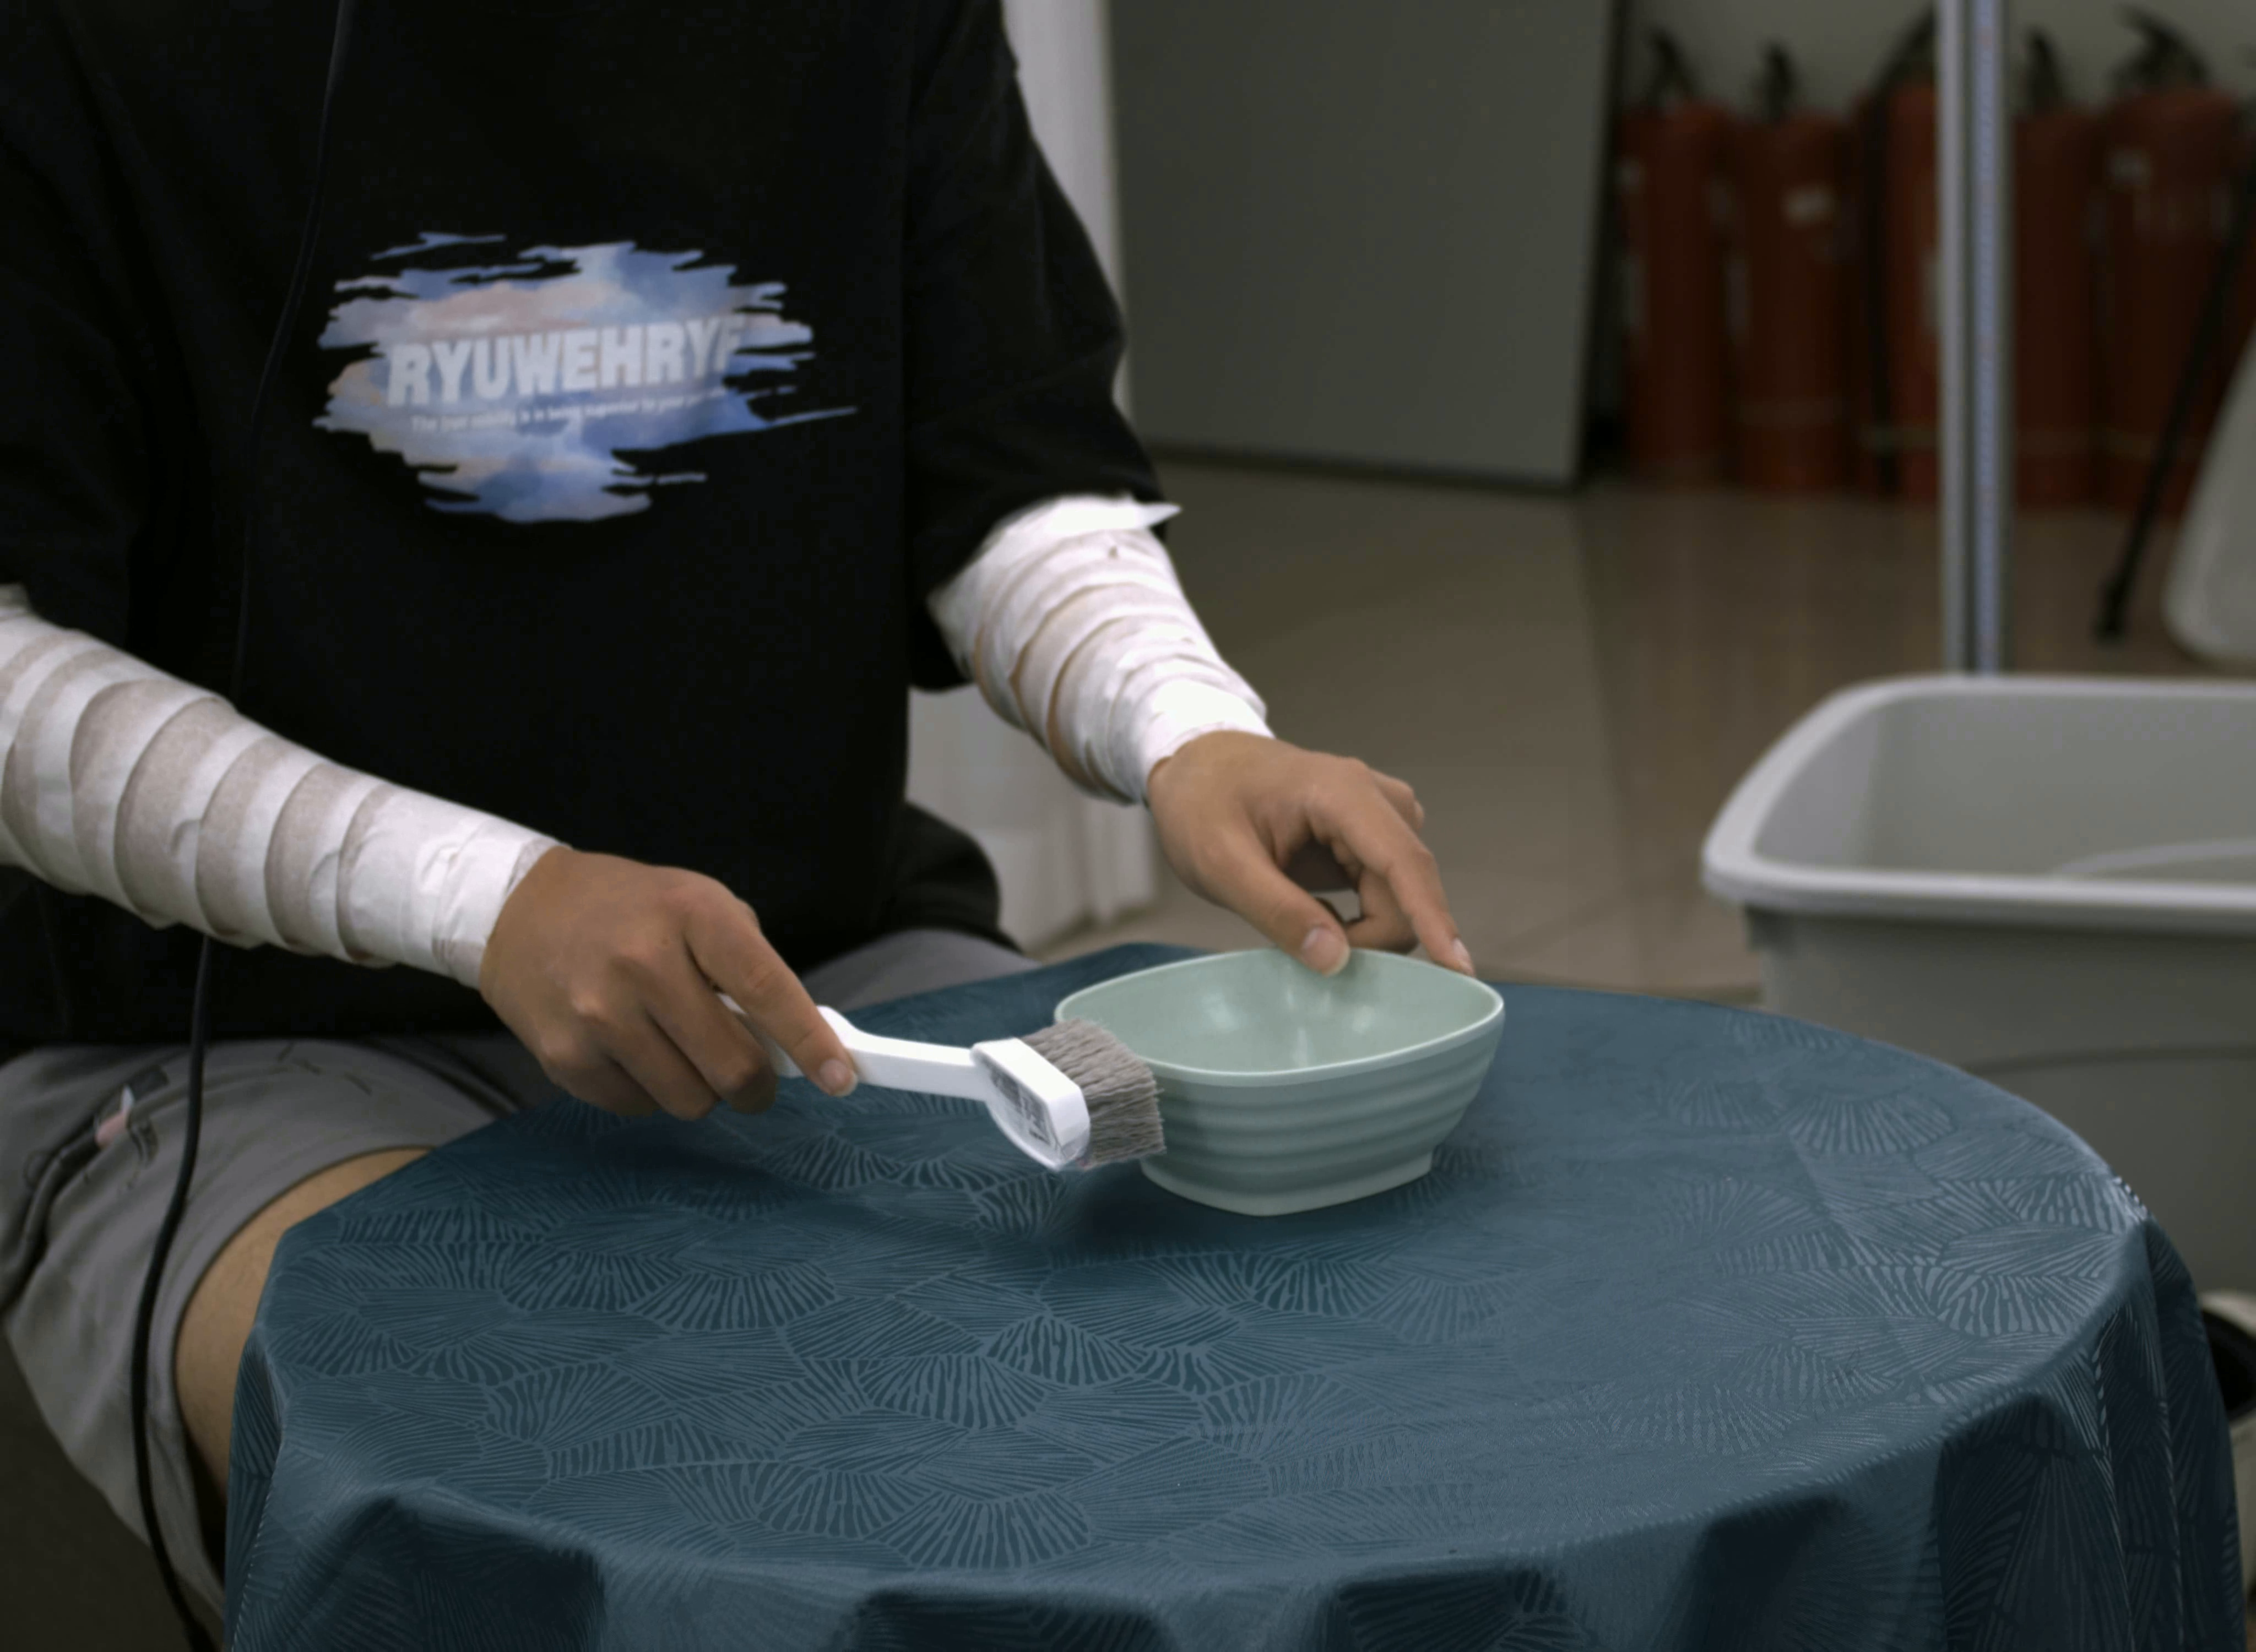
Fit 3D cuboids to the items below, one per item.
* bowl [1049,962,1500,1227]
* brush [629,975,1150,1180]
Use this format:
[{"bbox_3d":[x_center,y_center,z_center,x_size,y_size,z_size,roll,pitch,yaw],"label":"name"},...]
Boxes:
[{"bbox_3d":[0.050,0.091,1.776,0.149,0.059,0.151,-4,12,0],"label":"bowl"},{"bbox_3d":[-0.078,0.074,1.787,0.049,0.035,0.246,-21,21,-36],"label":"brush"}]
